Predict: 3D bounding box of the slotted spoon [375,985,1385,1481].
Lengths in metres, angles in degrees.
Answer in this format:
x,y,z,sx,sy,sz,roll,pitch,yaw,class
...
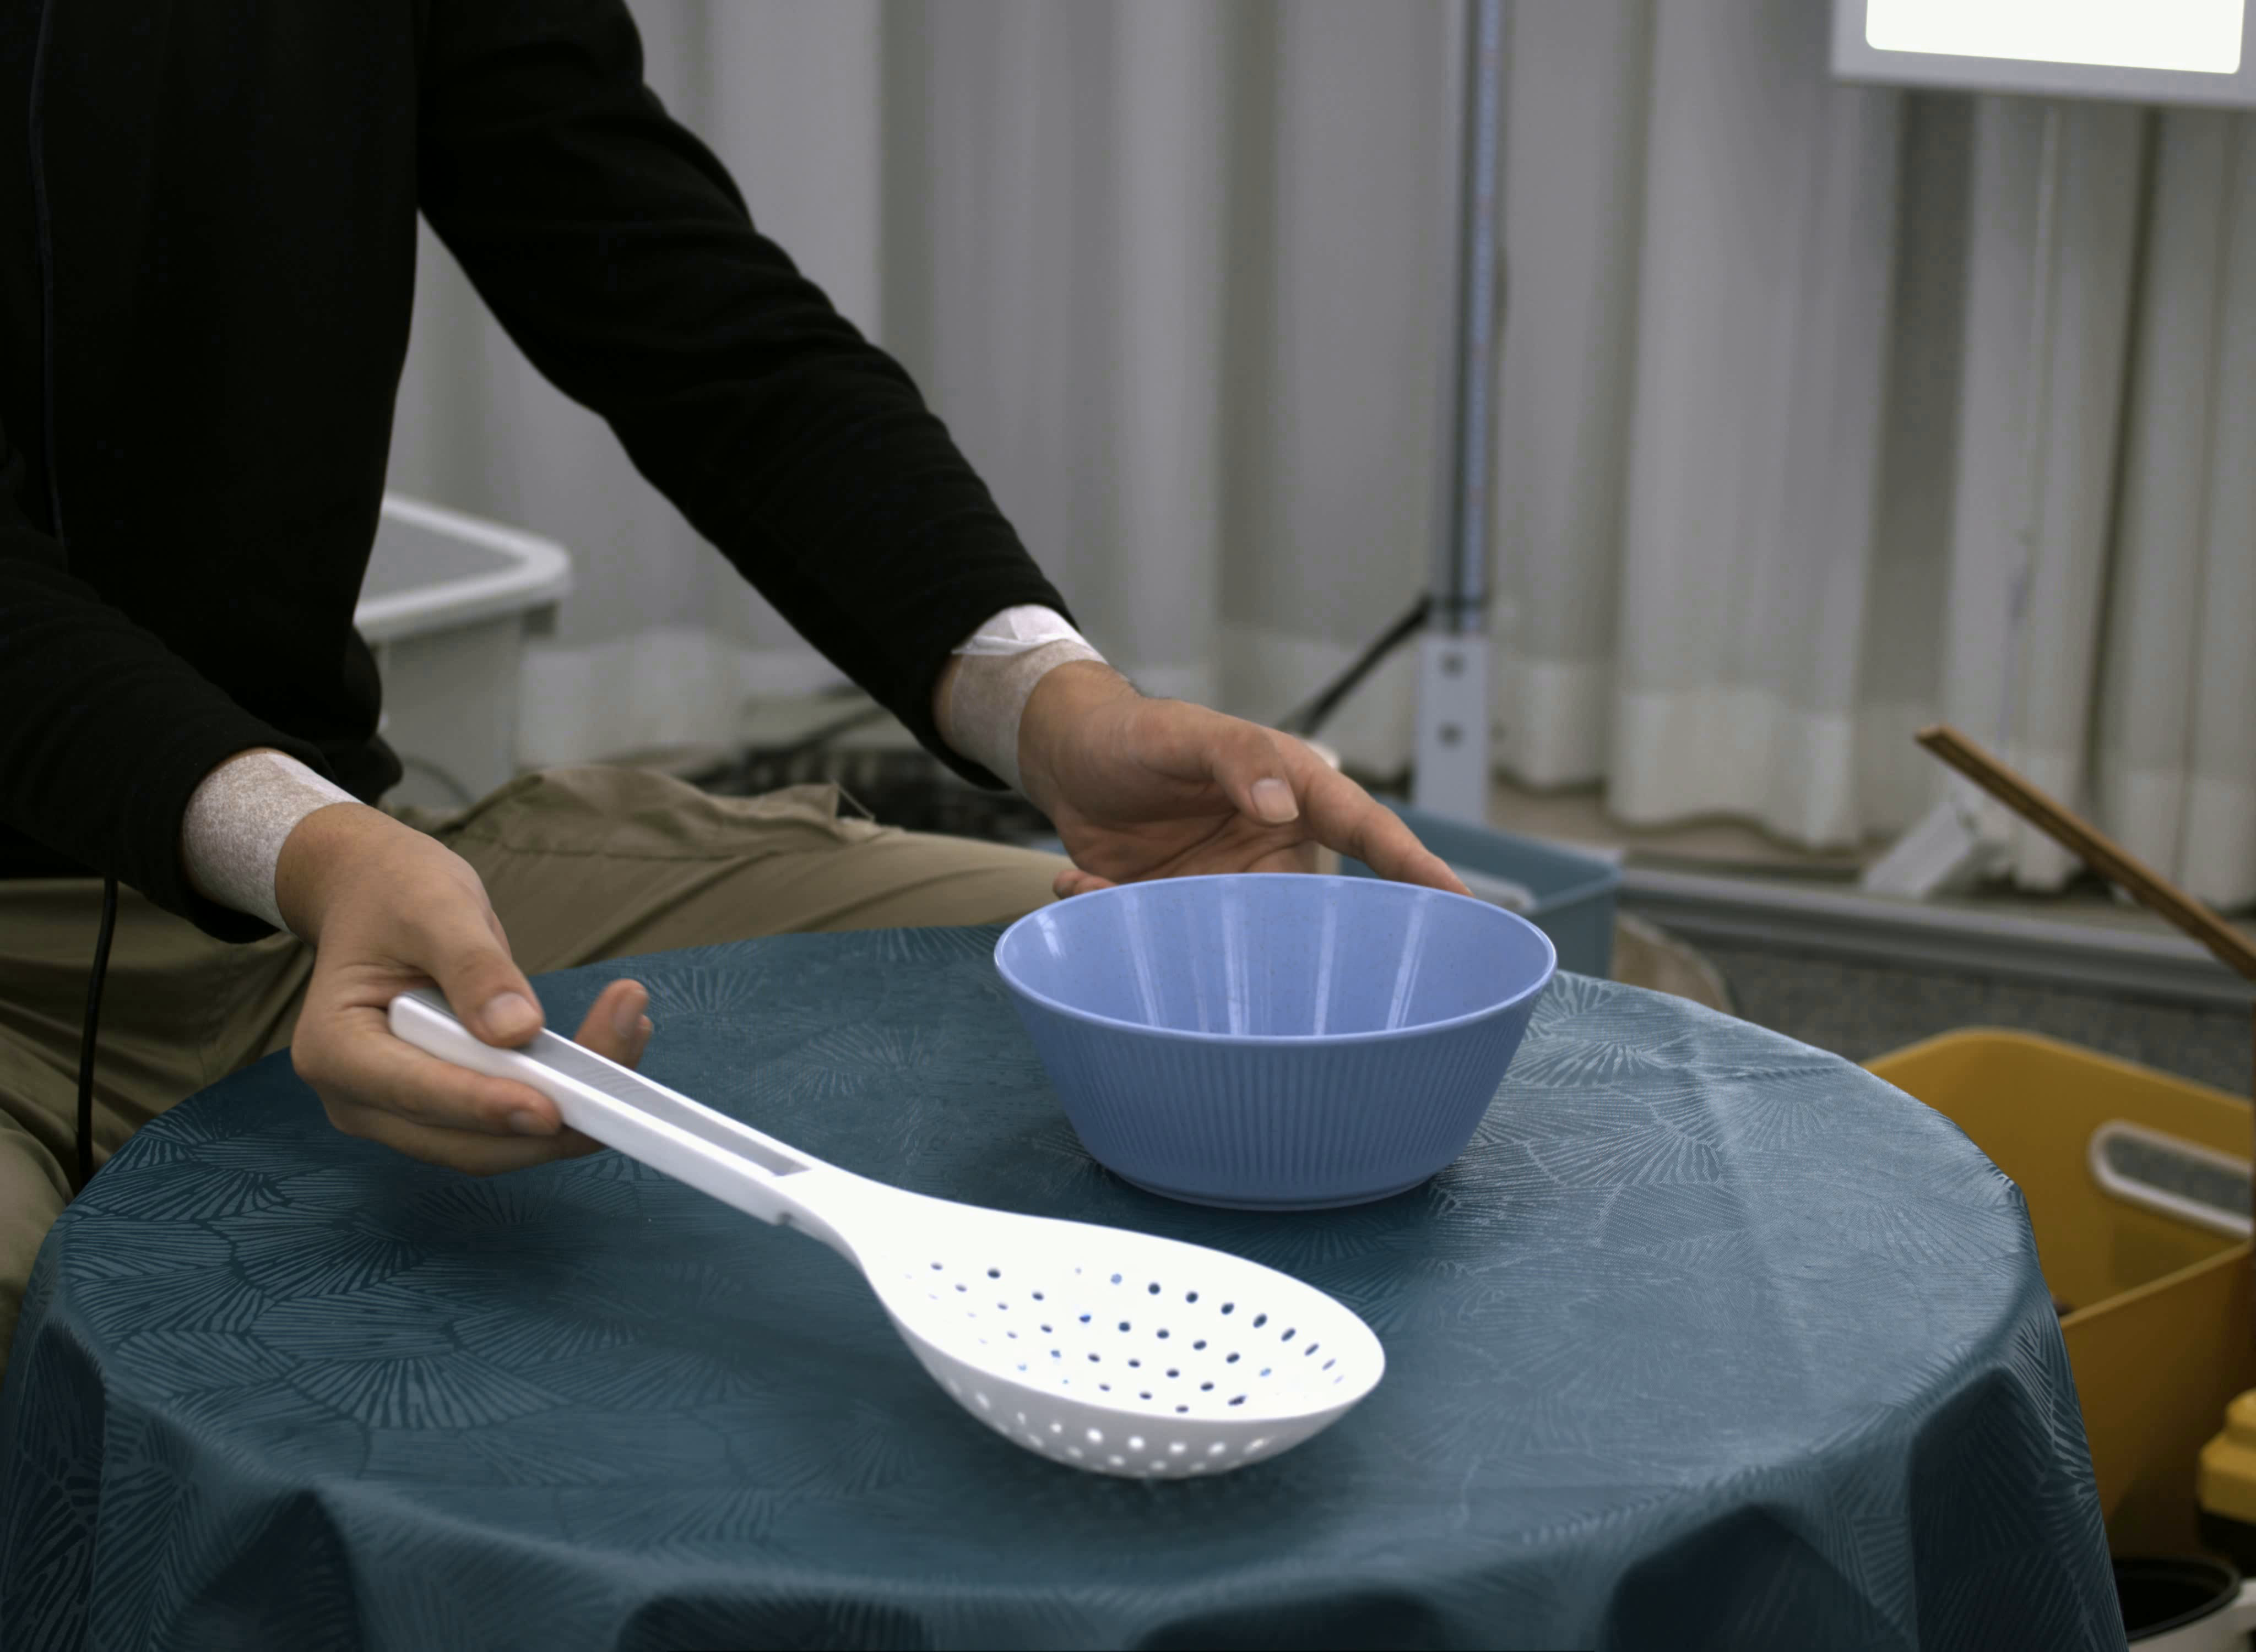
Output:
x,y,z,sx,sy,sz,roll,pitch,yaw,class
-0.082,0.106,1.461,0.345,0.046,0.137,26,23,32,slotted spoon

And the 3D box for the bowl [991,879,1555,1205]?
x,y,z,sx,sy,sz,roll,pitch,yaw,class
0.045,0.069,1.646,0.175,0.071,0.175,0,15,1,bowl
